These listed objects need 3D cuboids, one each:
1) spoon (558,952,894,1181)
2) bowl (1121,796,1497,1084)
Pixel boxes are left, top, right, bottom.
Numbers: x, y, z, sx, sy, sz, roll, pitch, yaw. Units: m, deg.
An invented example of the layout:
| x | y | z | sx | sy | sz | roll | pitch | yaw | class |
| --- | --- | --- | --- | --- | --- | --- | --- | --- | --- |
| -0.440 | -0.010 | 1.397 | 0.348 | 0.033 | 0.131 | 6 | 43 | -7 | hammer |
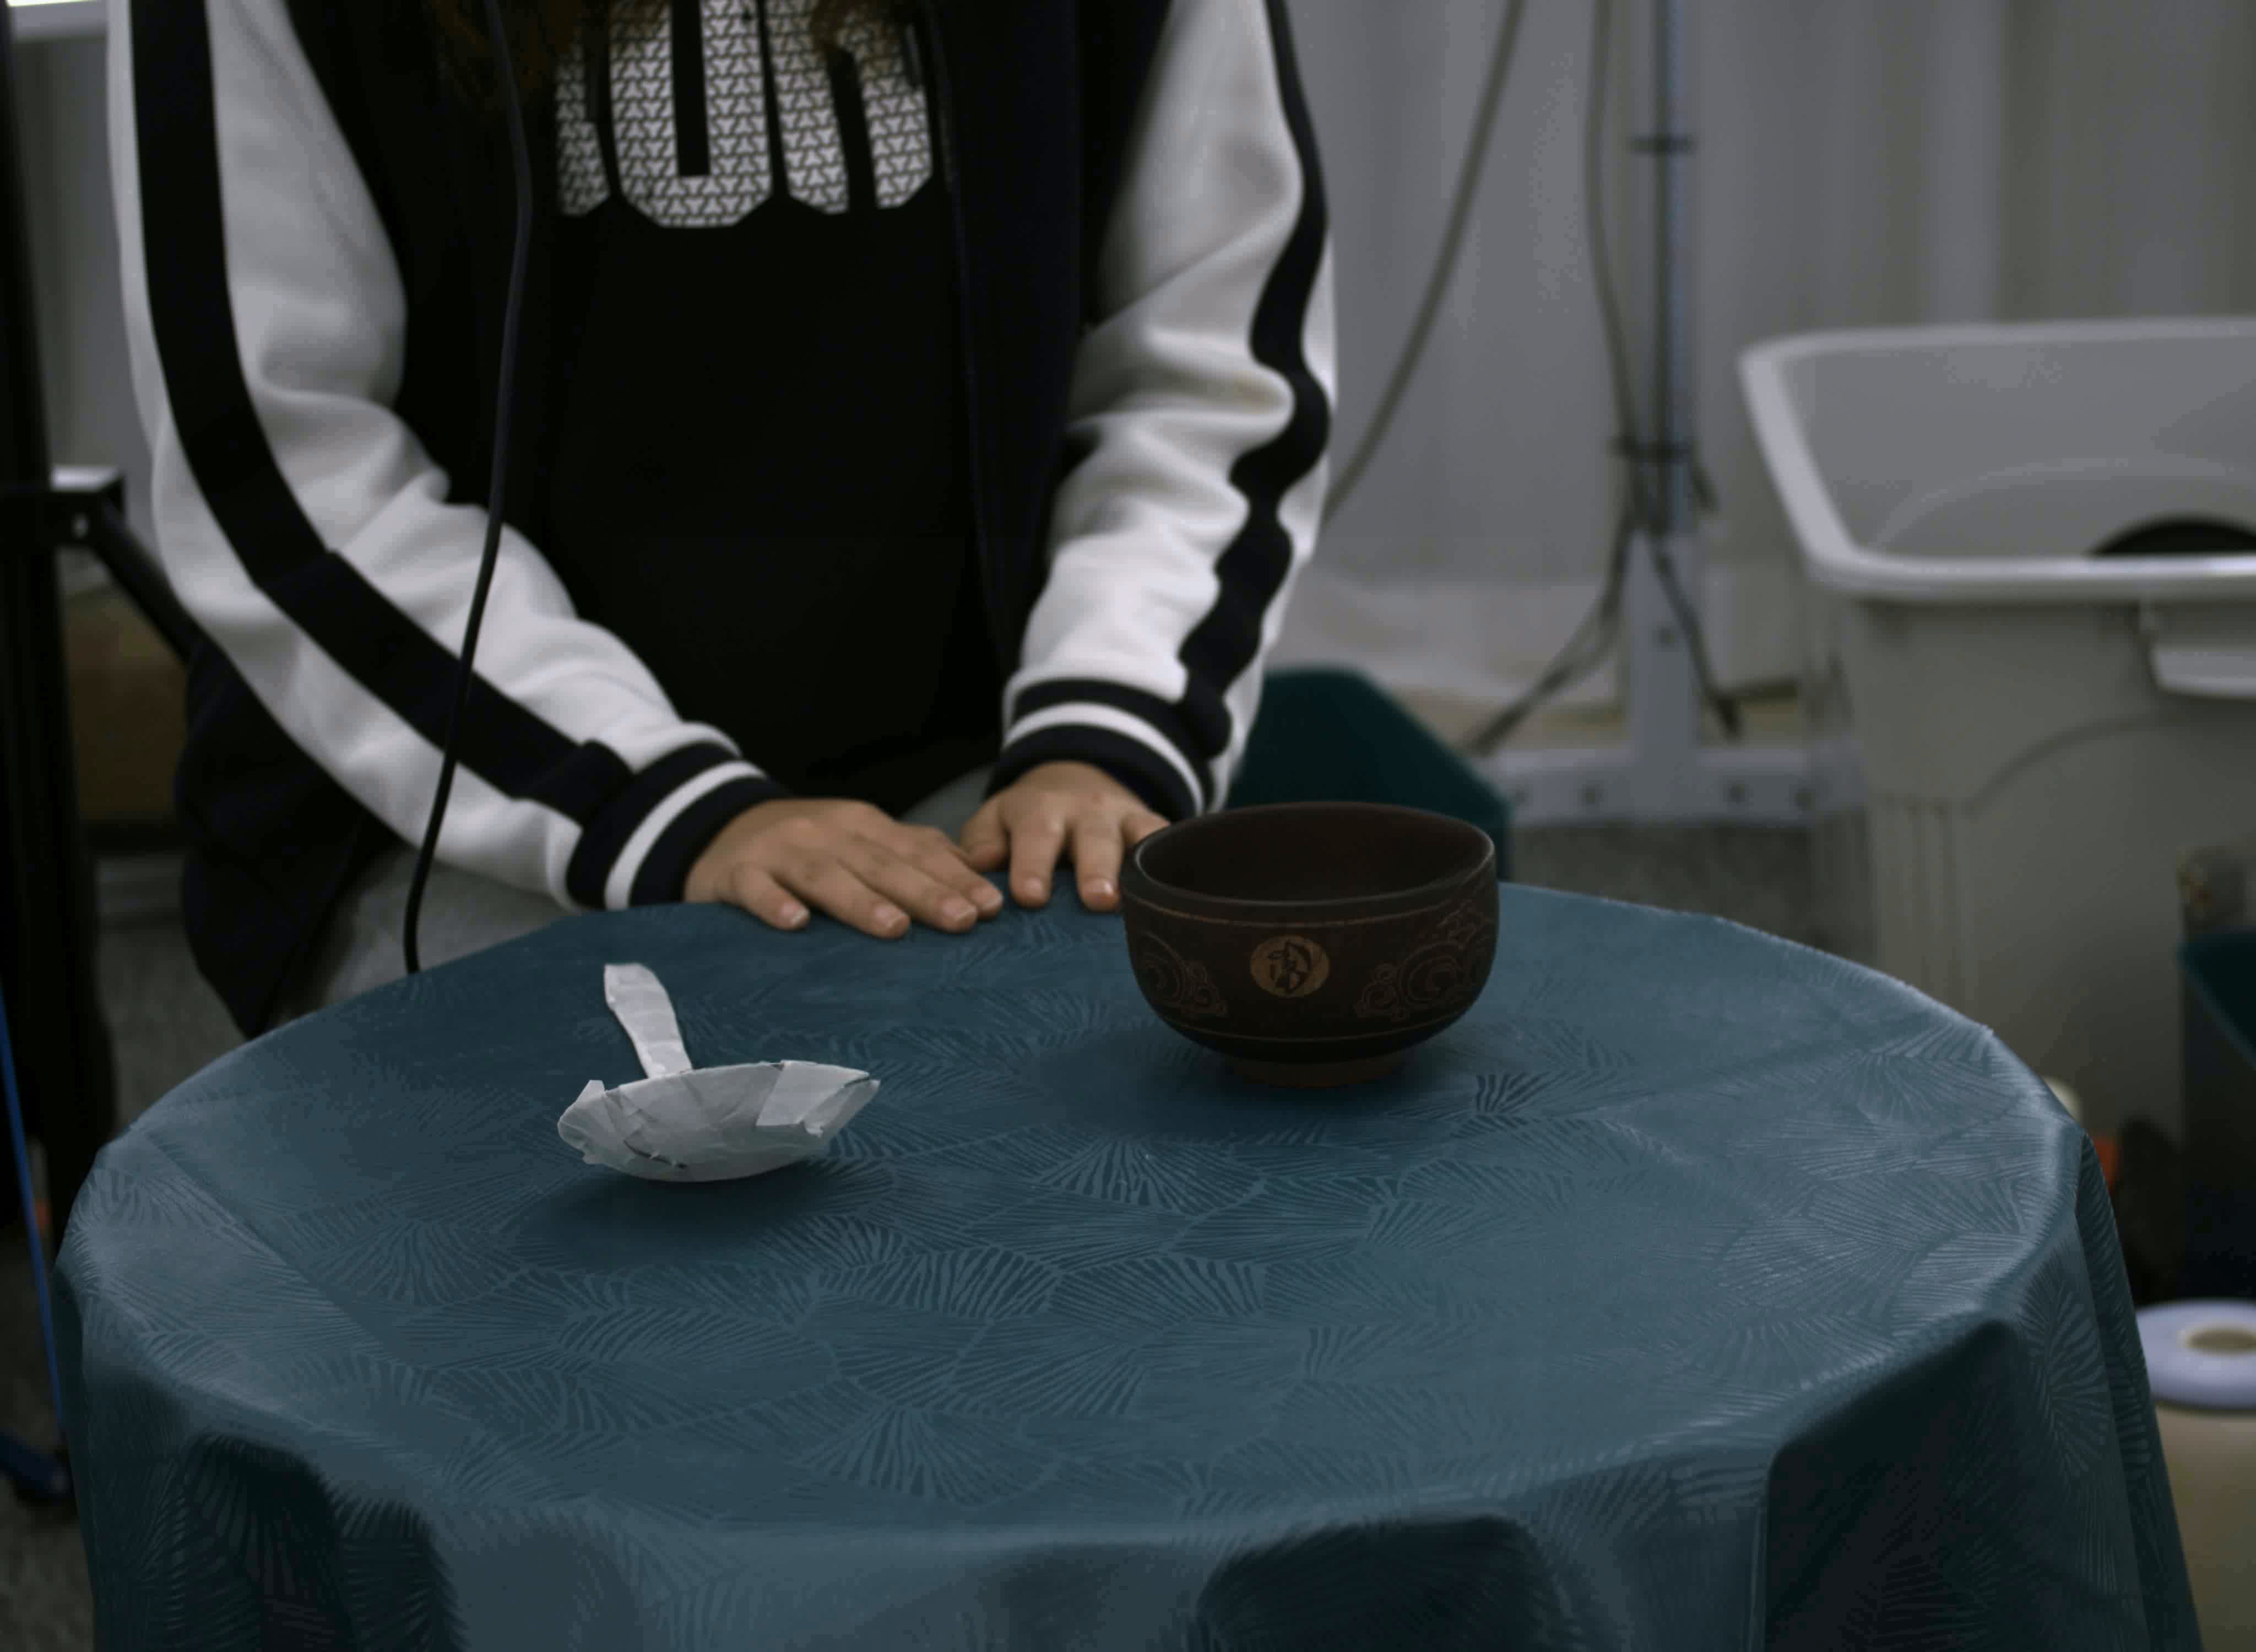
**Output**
| x | y | z | sx | sy | sz | roll | pitch | yaw | class |
| --- | --- | --- | --- | --- | --- | --- | --- | --- | --- |
| -0.133 | 0.057 | 1.657 | 0.099 | 0.059 | 0.280 | -1 | 15 | -9 | spoon |
| 0.057 | 0.039 | 1.658 | 0.117 | 0.070 | 0.118 | -2 | 15 | -1 | bowl |
